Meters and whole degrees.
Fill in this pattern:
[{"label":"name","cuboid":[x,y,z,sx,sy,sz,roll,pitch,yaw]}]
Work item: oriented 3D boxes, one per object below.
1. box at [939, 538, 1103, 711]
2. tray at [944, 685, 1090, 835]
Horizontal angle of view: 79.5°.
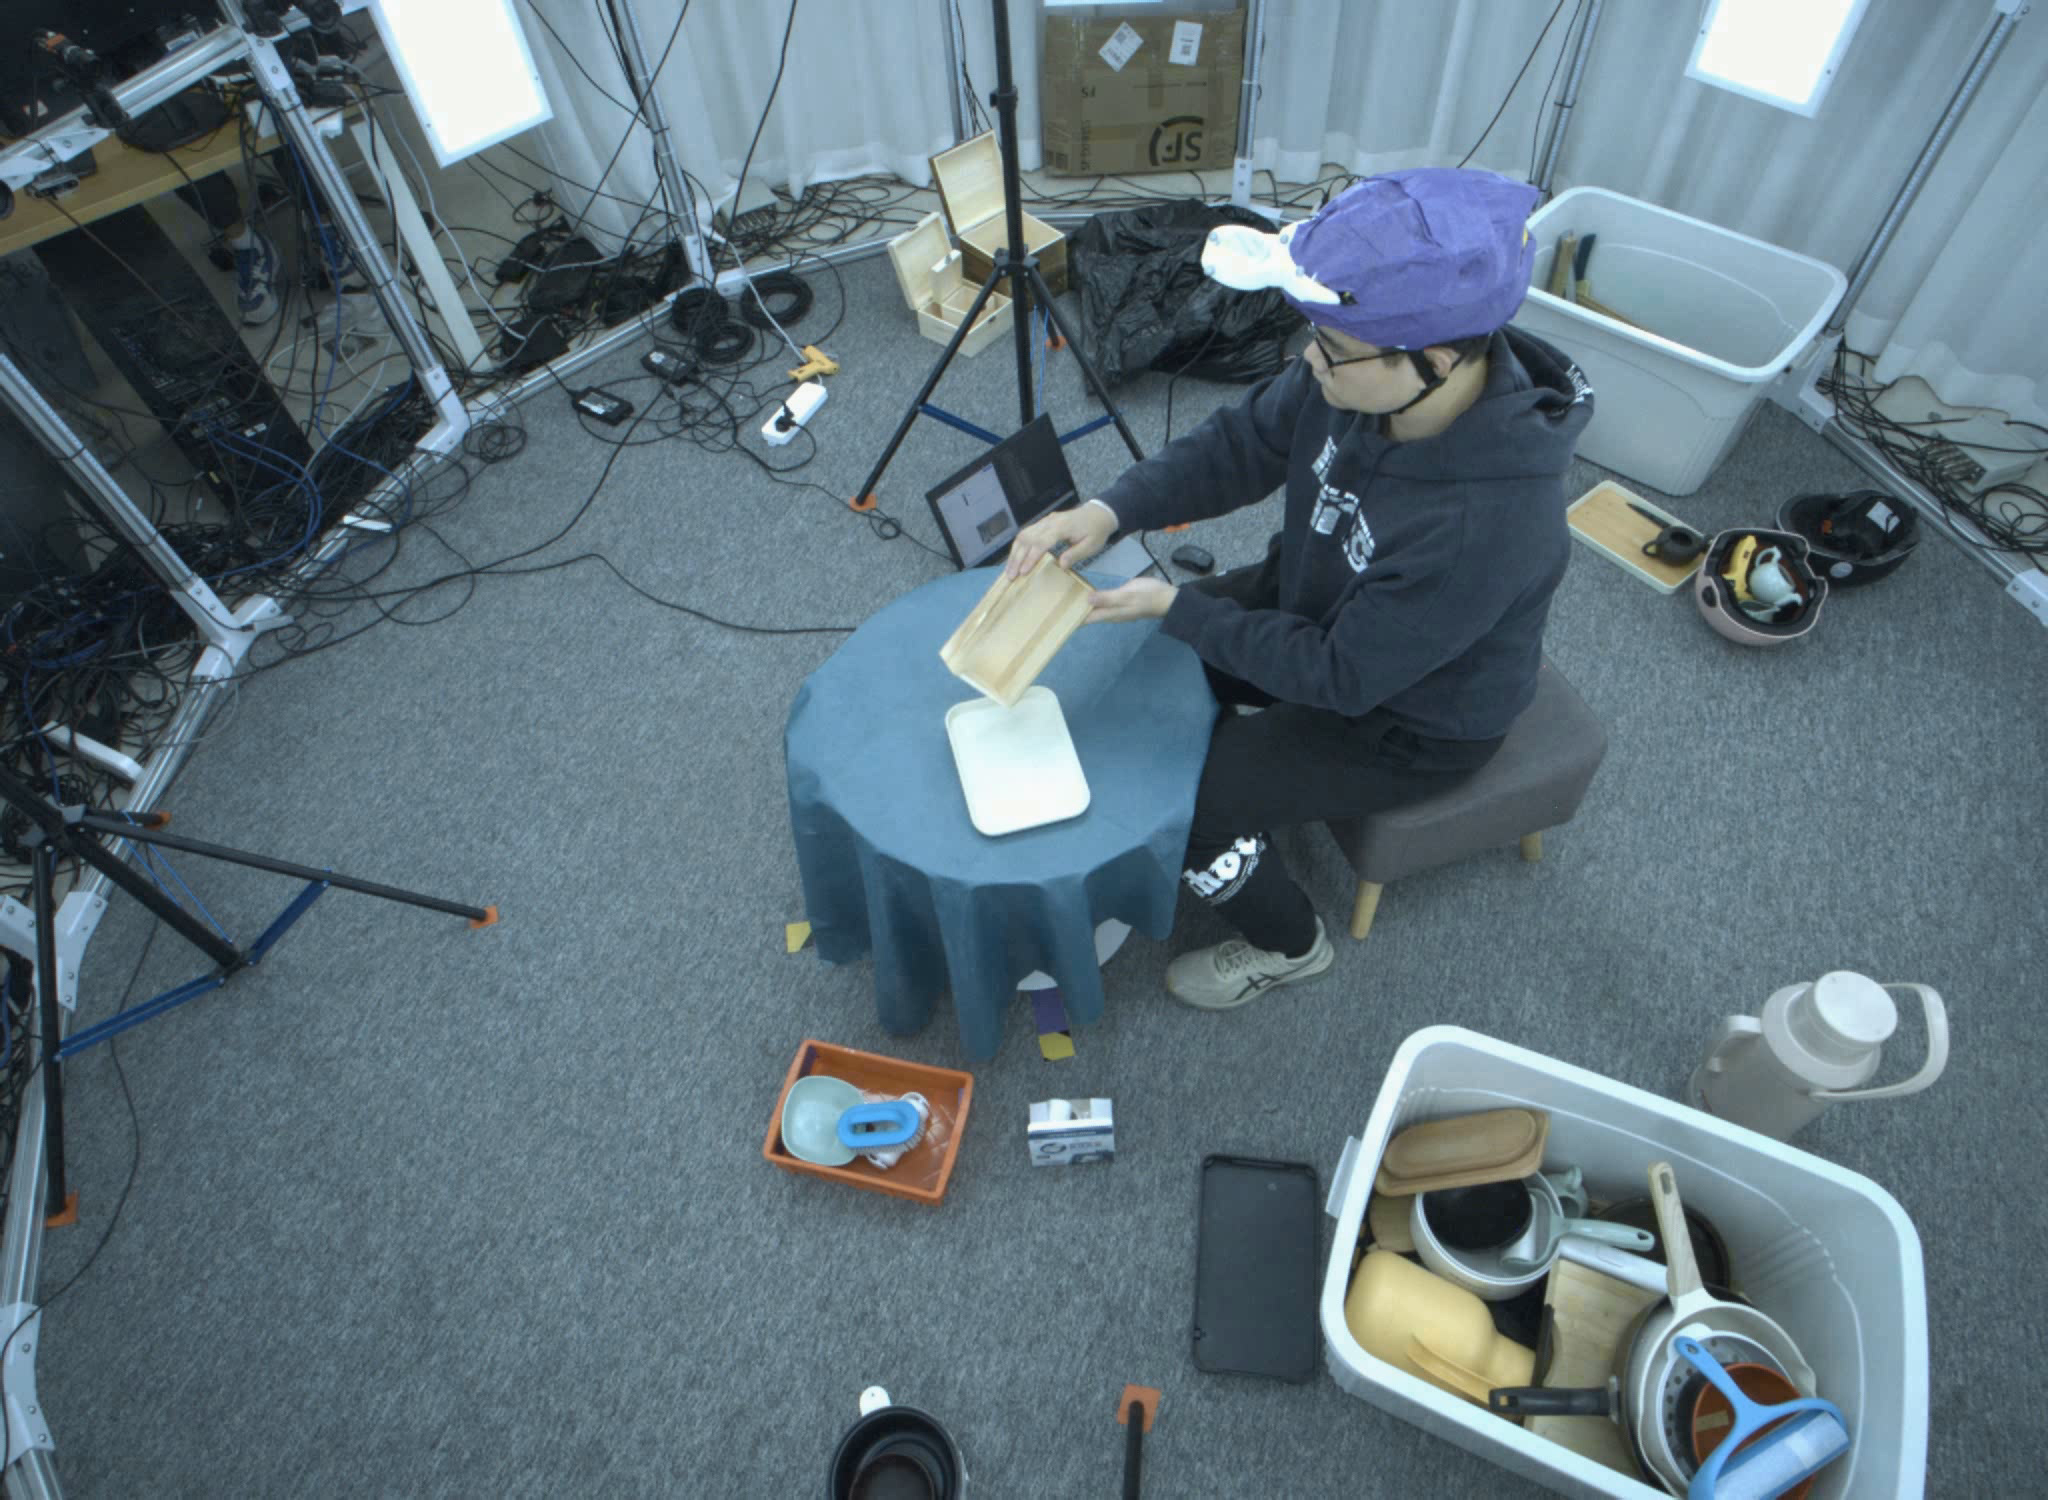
[{"label":"box","cuboid":[-0.006,-0.174,1.714,0.211,0.110,0.078,-51,35,11]},{"label":"tray","cuboid":[-0.012,0.013,1.769,0.172,0.017,0.236,-13,55,-8]}]
